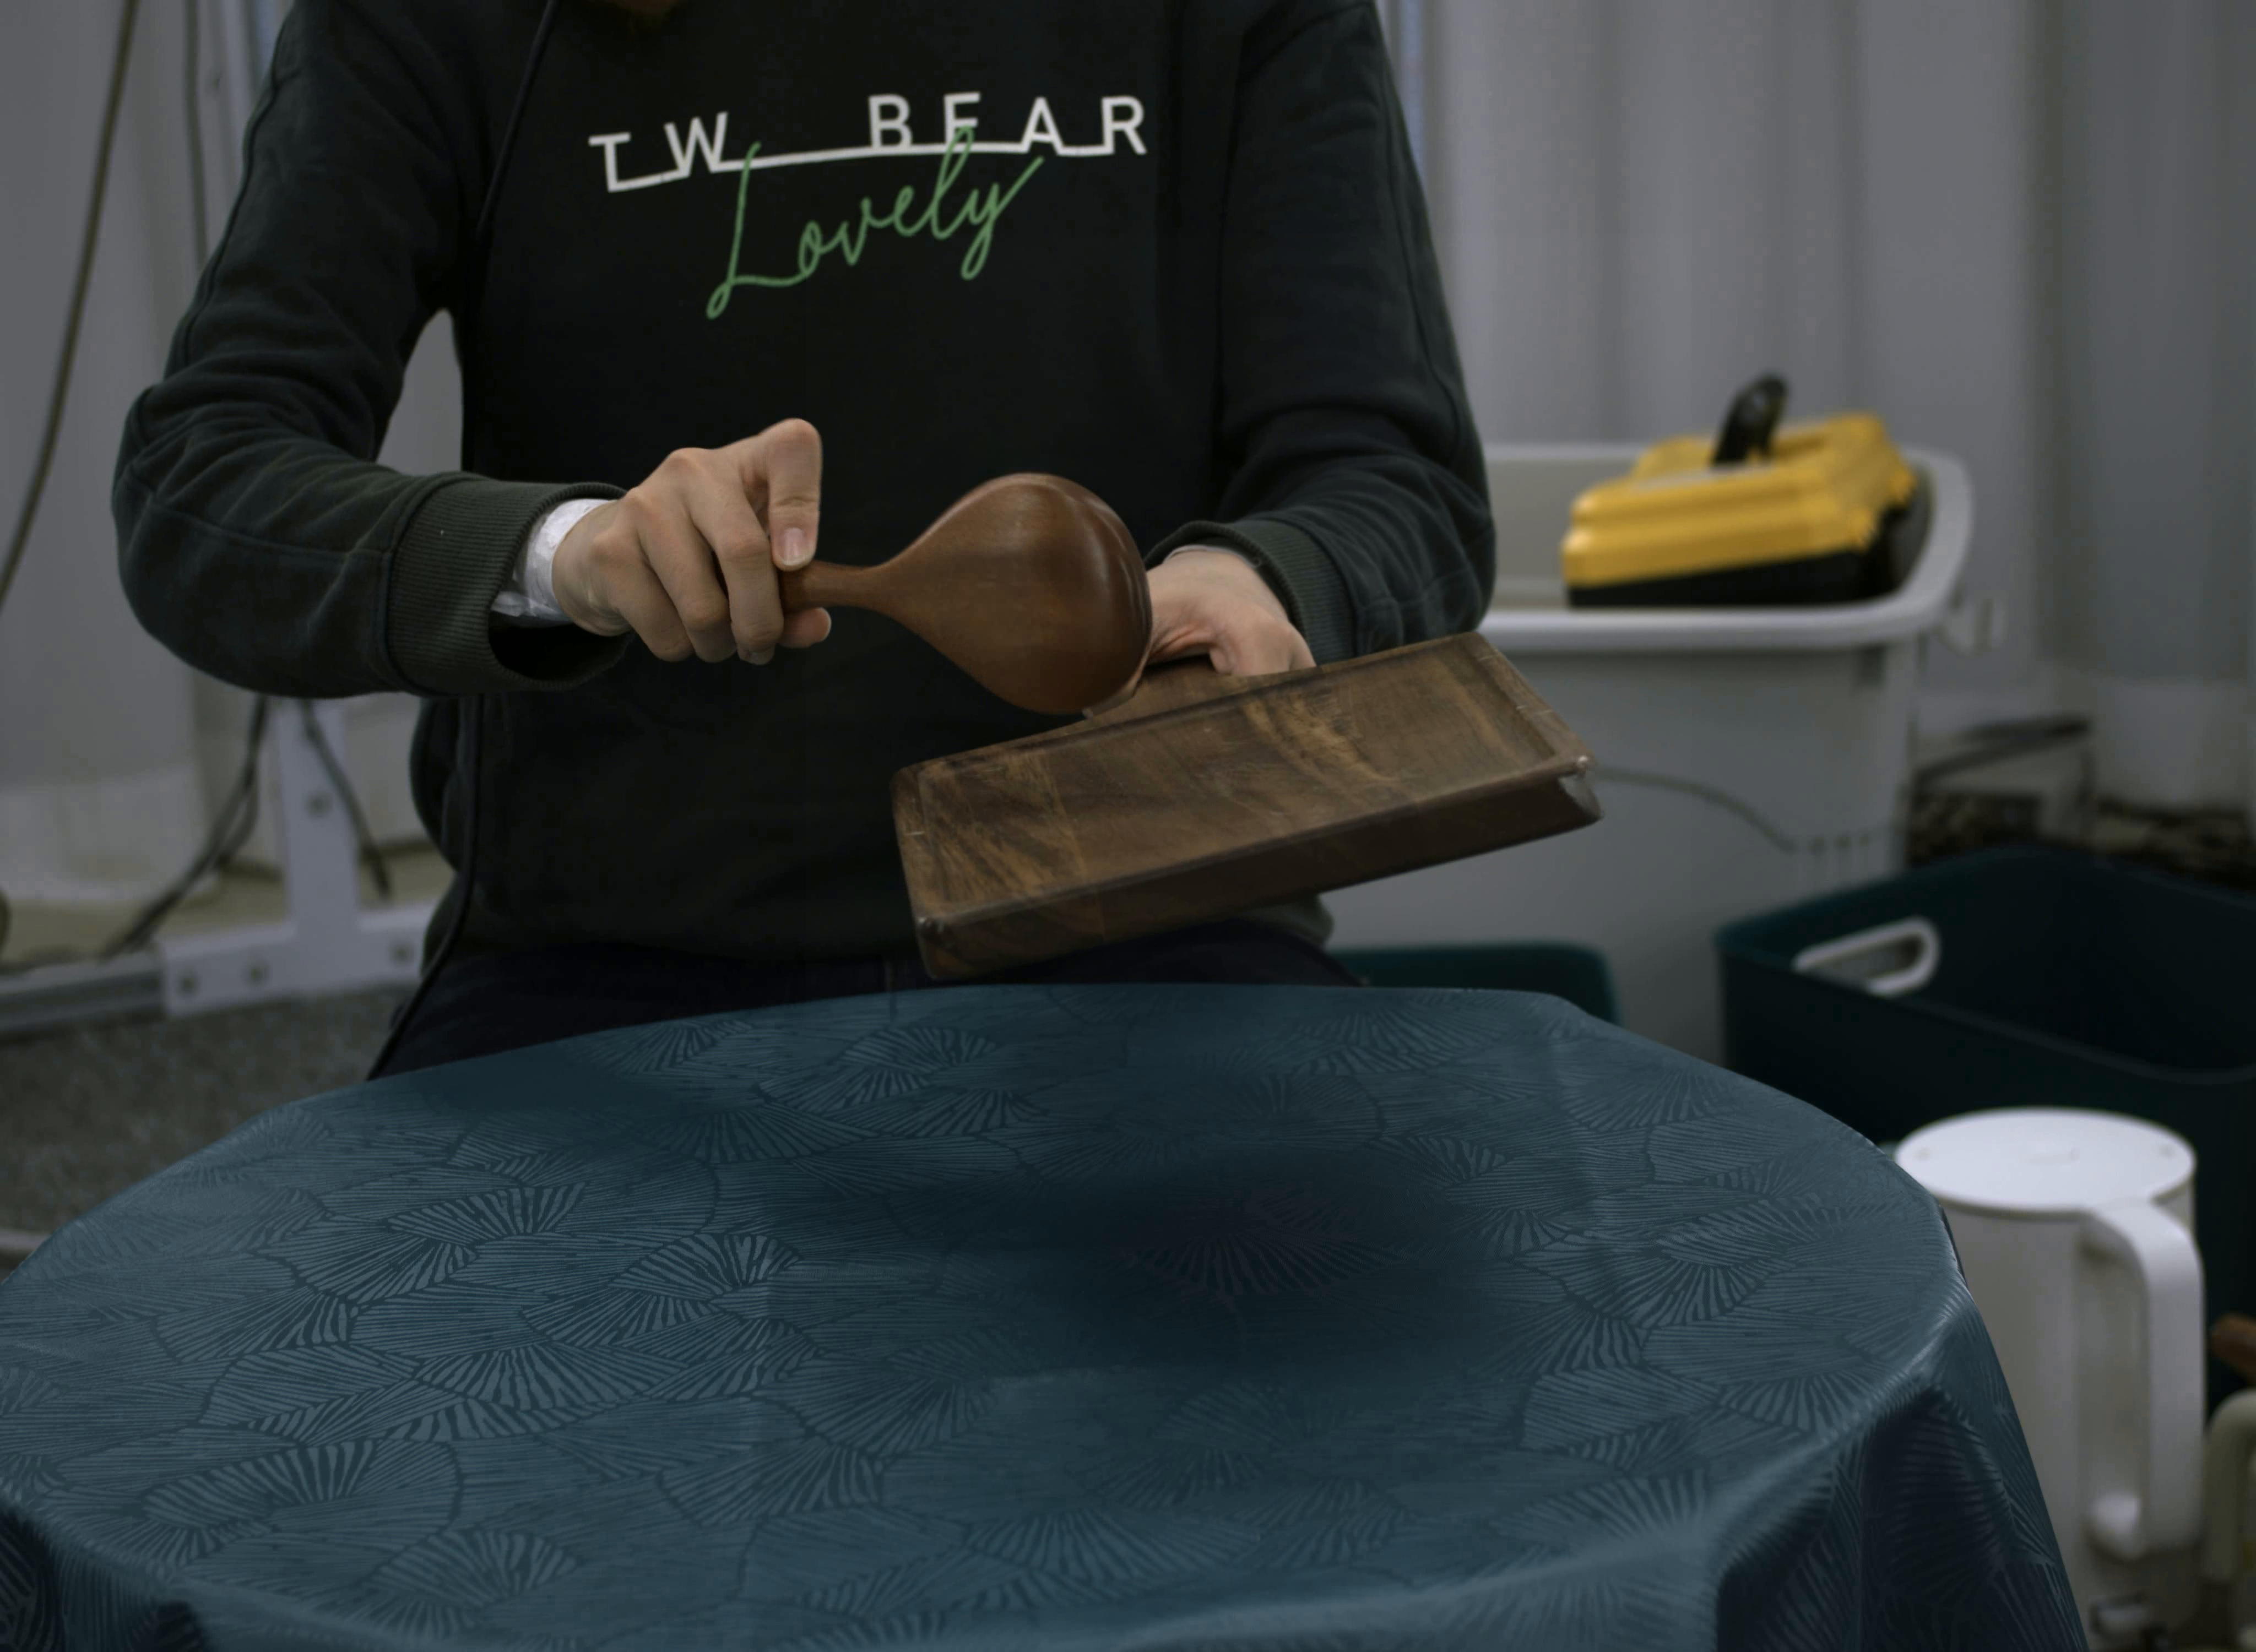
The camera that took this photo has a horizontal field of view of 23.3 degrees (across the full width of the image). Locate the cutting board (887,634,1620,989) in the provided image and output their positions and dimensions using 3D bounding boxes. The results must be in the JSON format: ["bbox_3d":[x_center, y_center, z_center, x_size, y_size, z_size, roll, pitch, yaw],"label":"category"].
[{"bbox_3d":[0.026,-0.017,1.673,0.200,0.023,0.354,-14,11,-2],"label":"cutting board"}]

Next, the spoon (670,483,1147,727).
[{"bbox_3d":[-0.072,-0.071,1.690,0.017,0.075,0.217,-17,16,-40],"label":"spoon"}]
